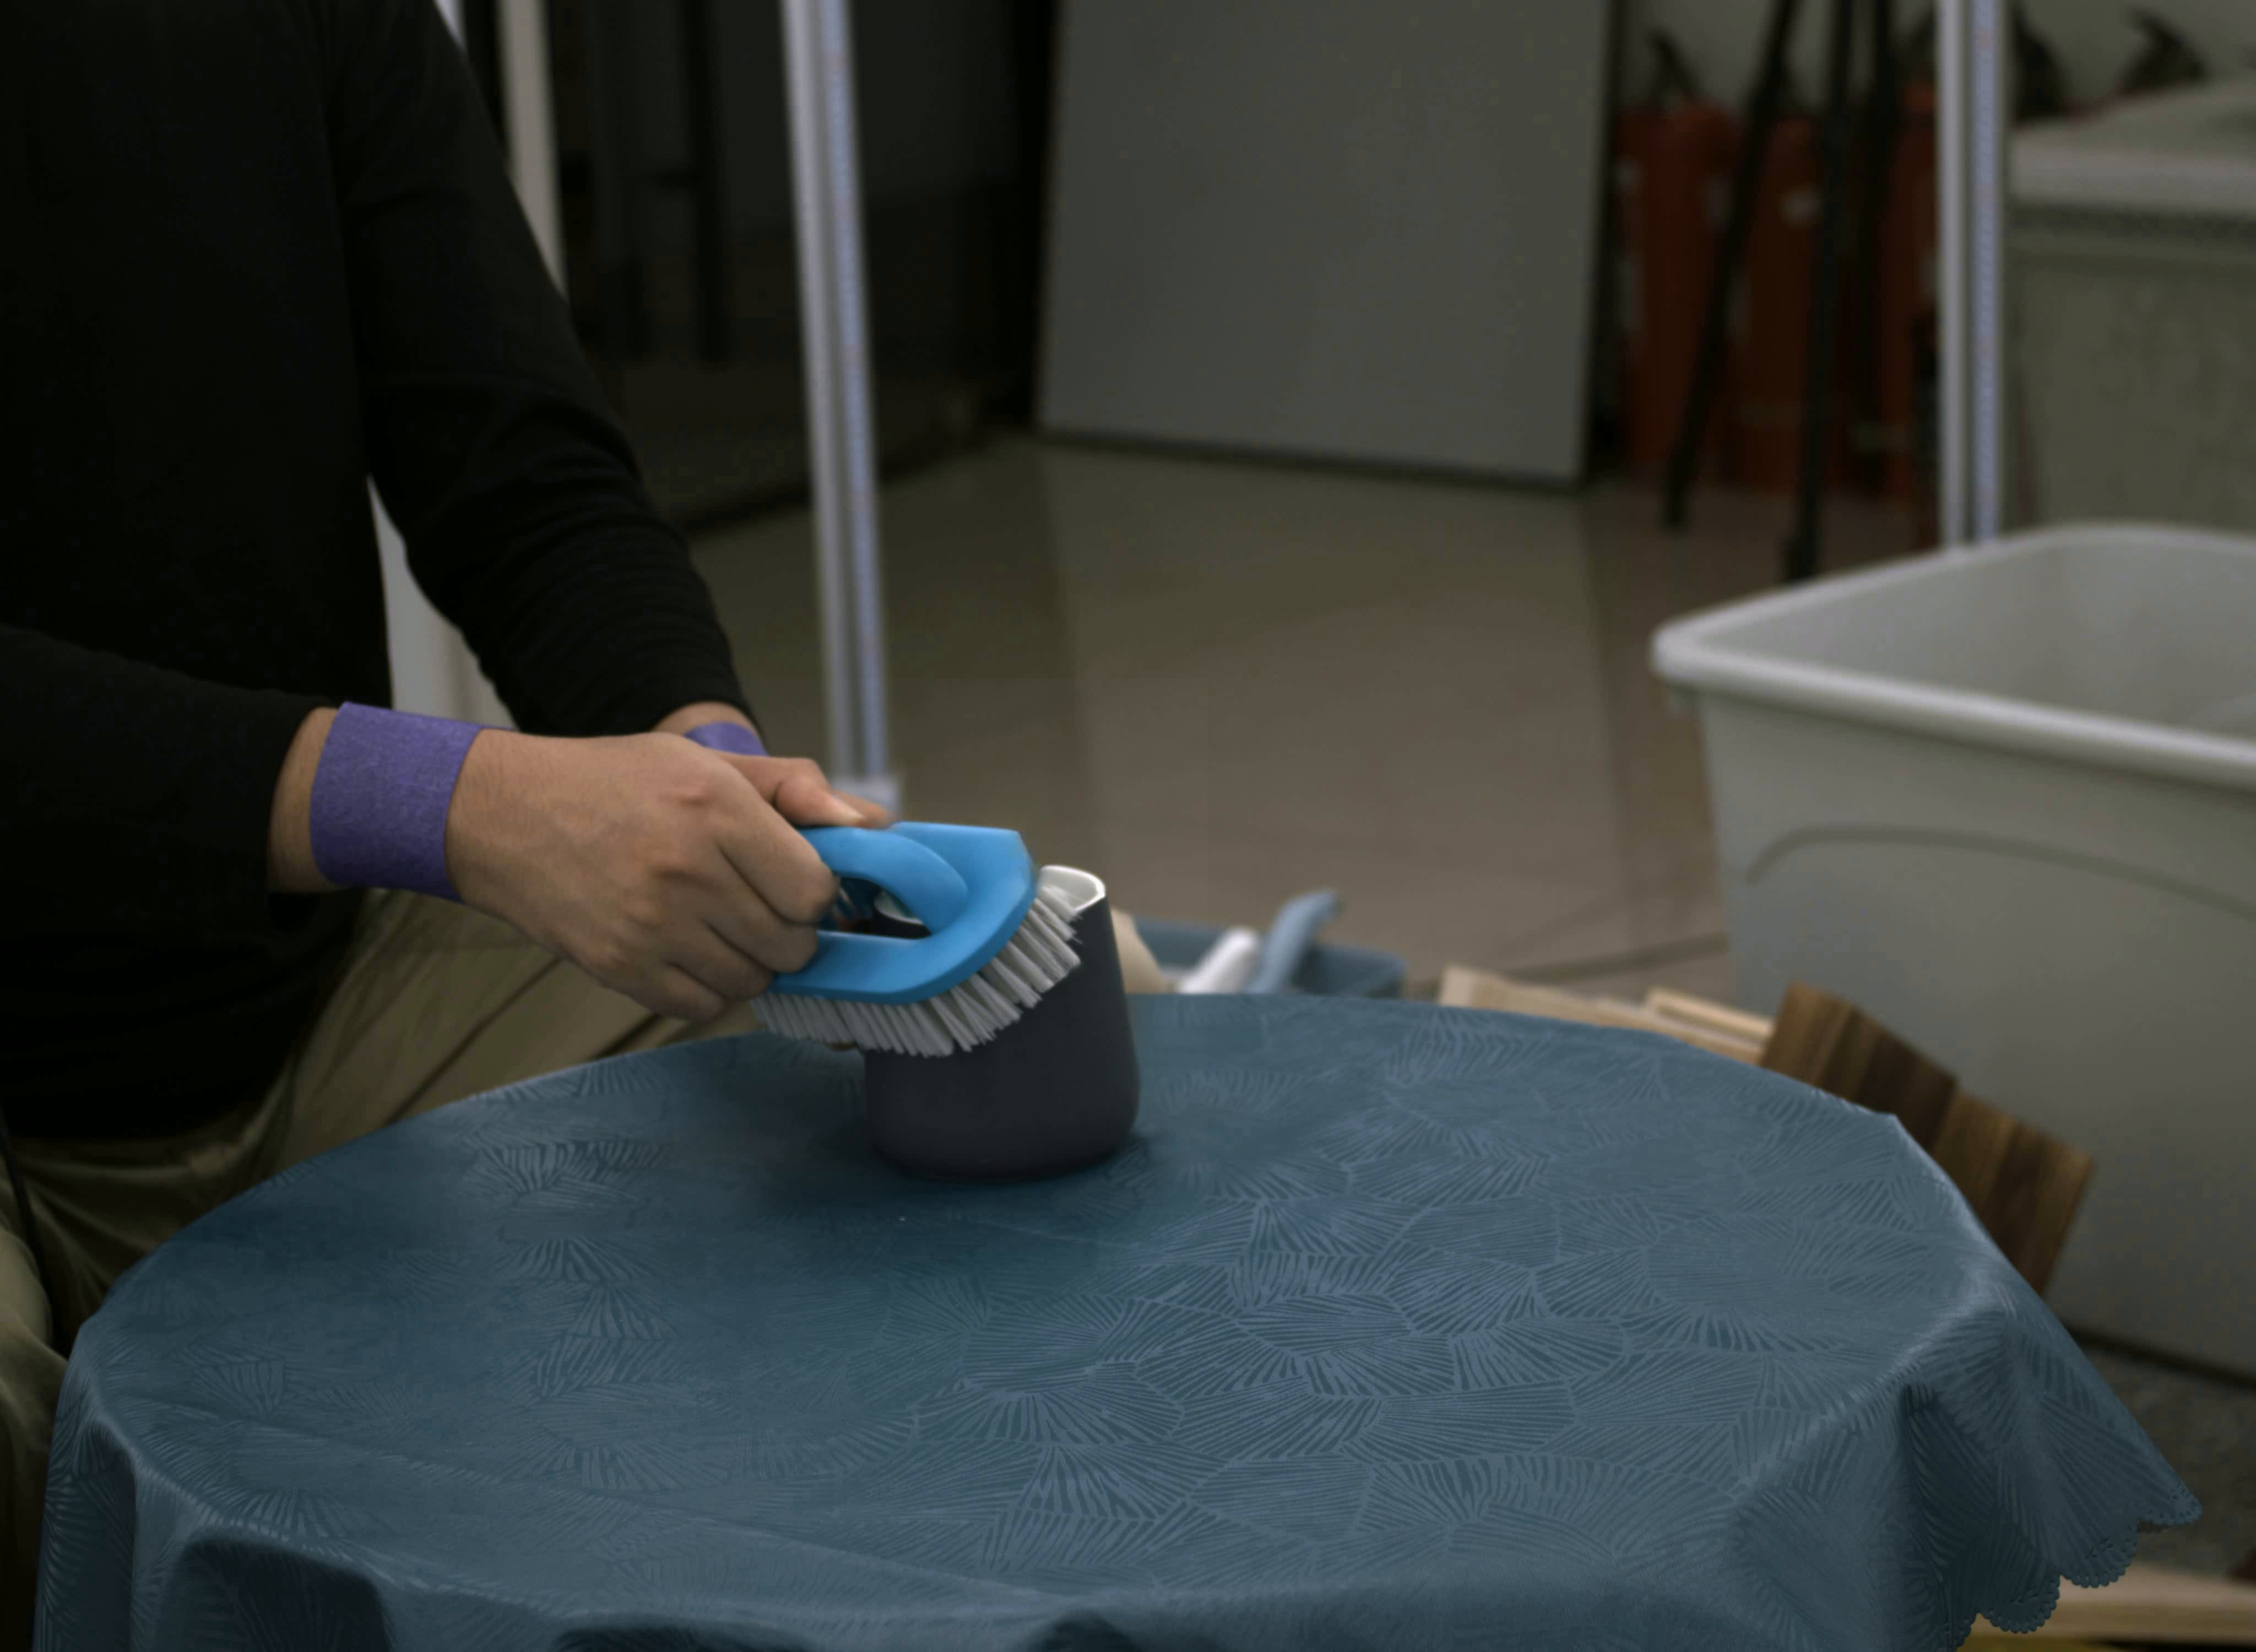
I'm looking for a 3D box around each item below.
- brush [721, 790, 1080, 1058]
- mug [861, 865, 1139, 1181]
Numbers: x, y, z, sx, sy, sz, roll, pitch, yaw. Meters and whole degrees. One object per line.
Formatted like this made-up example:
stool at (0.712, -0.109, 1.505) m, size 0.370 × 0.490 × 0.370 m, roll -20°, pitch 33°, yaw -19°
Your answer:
brush at (-0.086, 0.022, 1.784) m, size 0.143 × 0.063 × 0.084 m, roll 6°, pitch 56°, yaw 47°
mug at (-0.052, 0.062, 1.824) m, size 0.091 × 0.091 × 0.124 m, roll -13°, pitch 18°, yaw -36°
